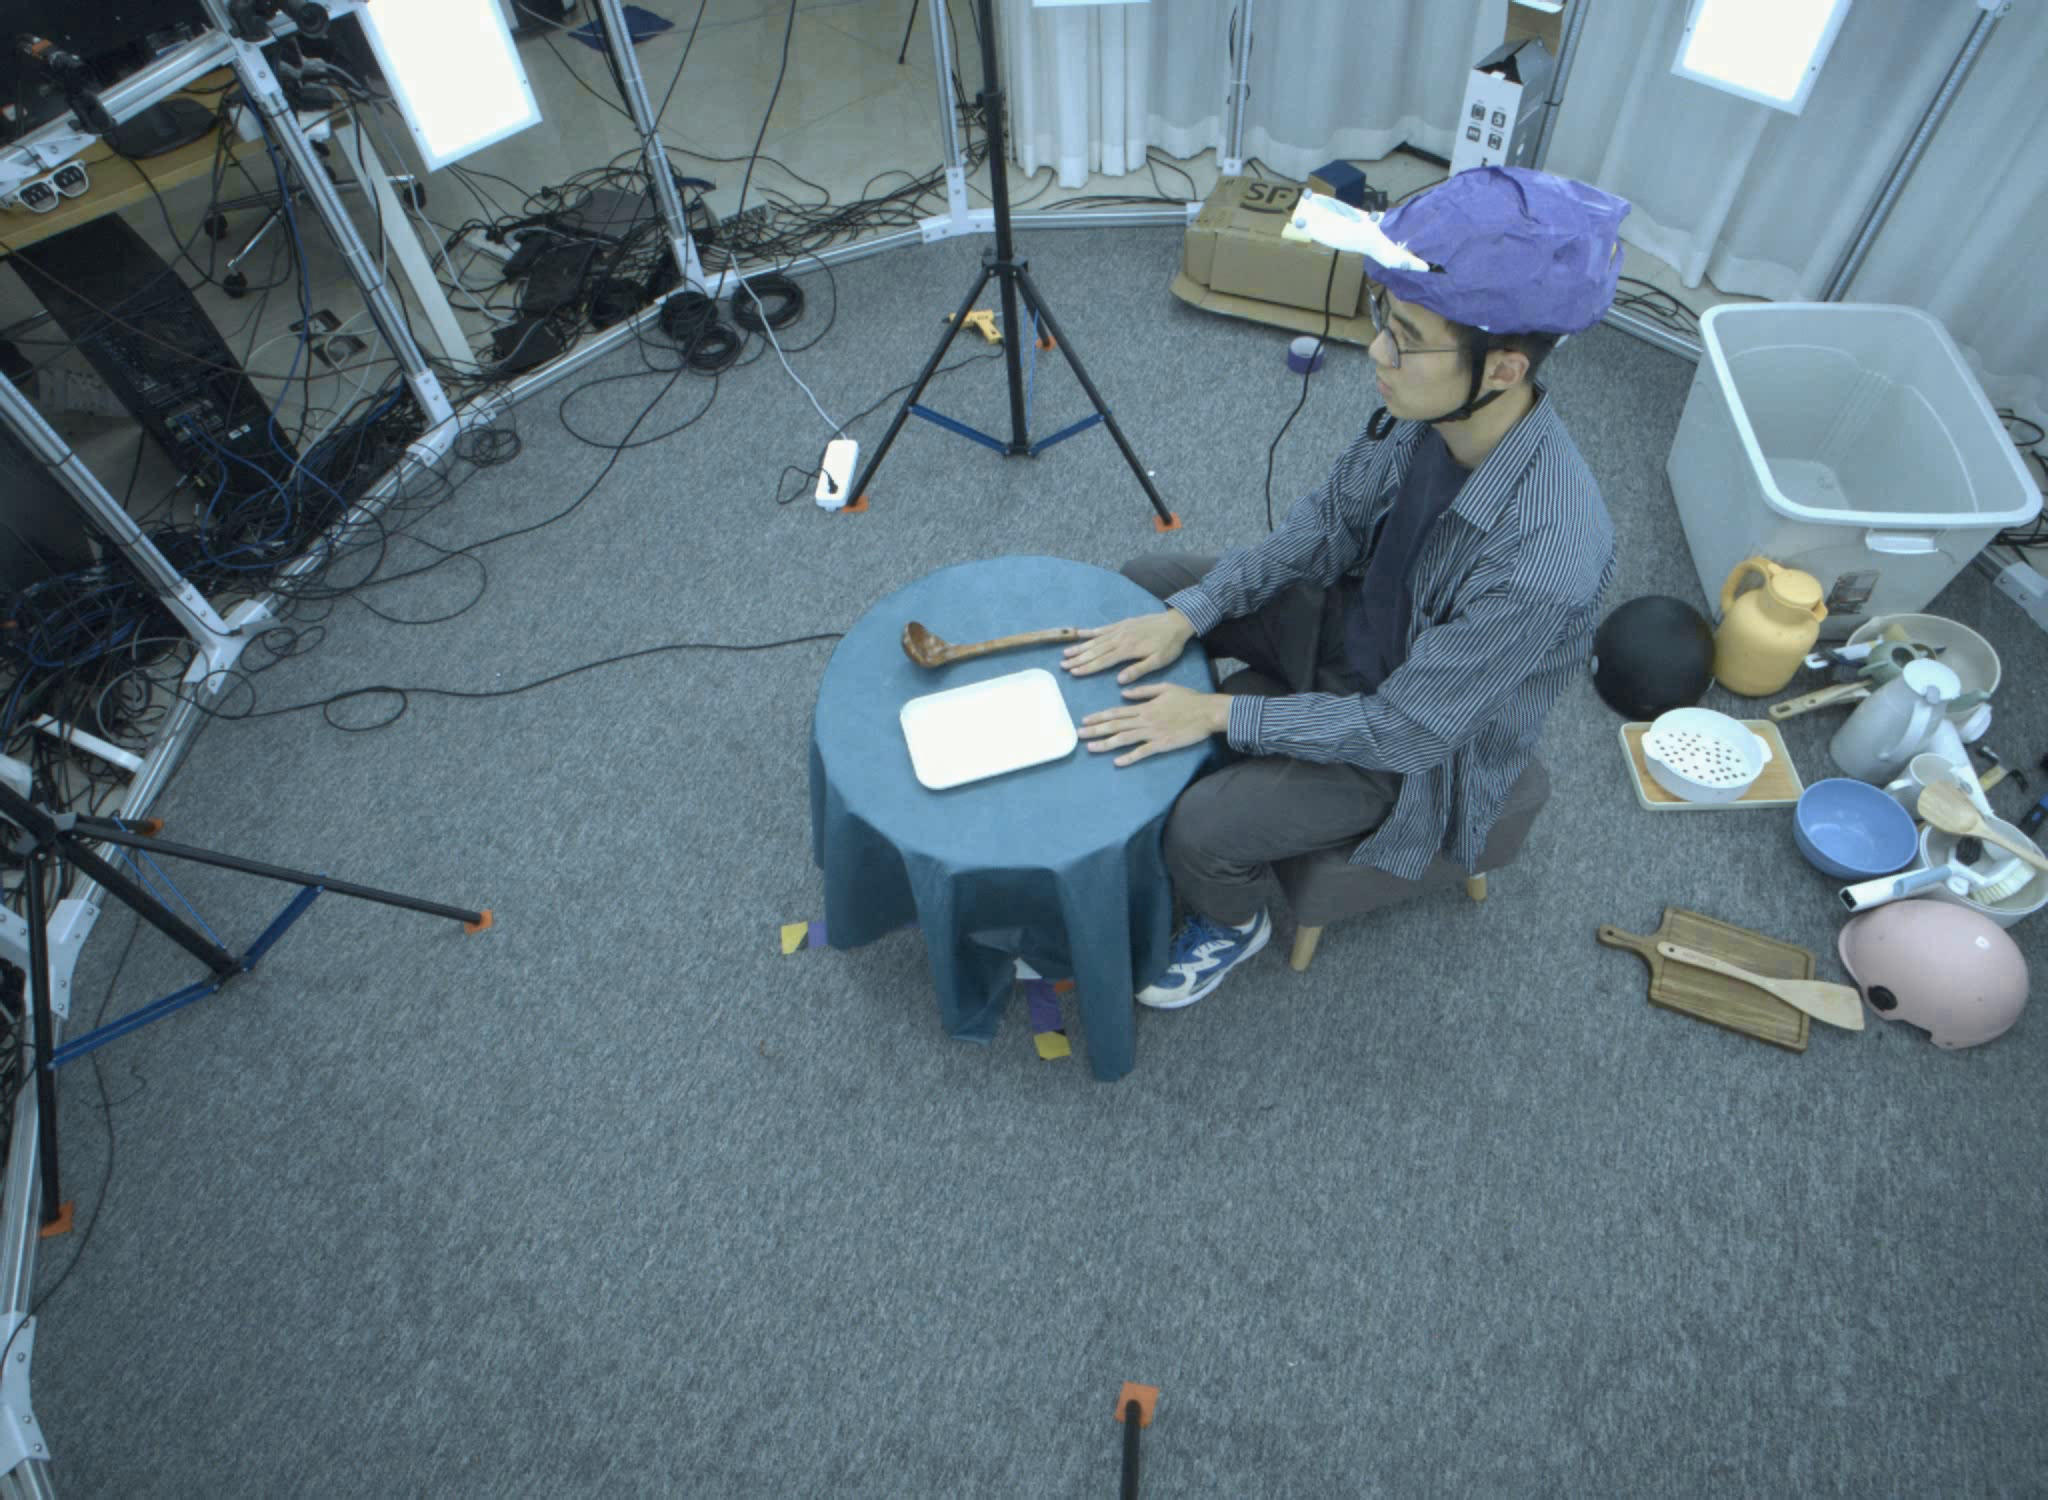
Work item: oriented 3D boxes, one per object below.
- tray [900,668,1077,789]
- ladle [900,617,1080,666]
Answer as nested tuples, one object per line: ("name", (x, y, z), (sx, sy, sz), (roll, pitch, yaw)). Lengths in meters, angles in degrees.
("tray", (-0.054, -0.032, 1.805), (0.241, 0.017, 0.168), (-14, 56, -9))
("ladle", (-0.052, -0.178, 1.872), (0.275, 0.077, 0.081), (-8, 58, -4))
